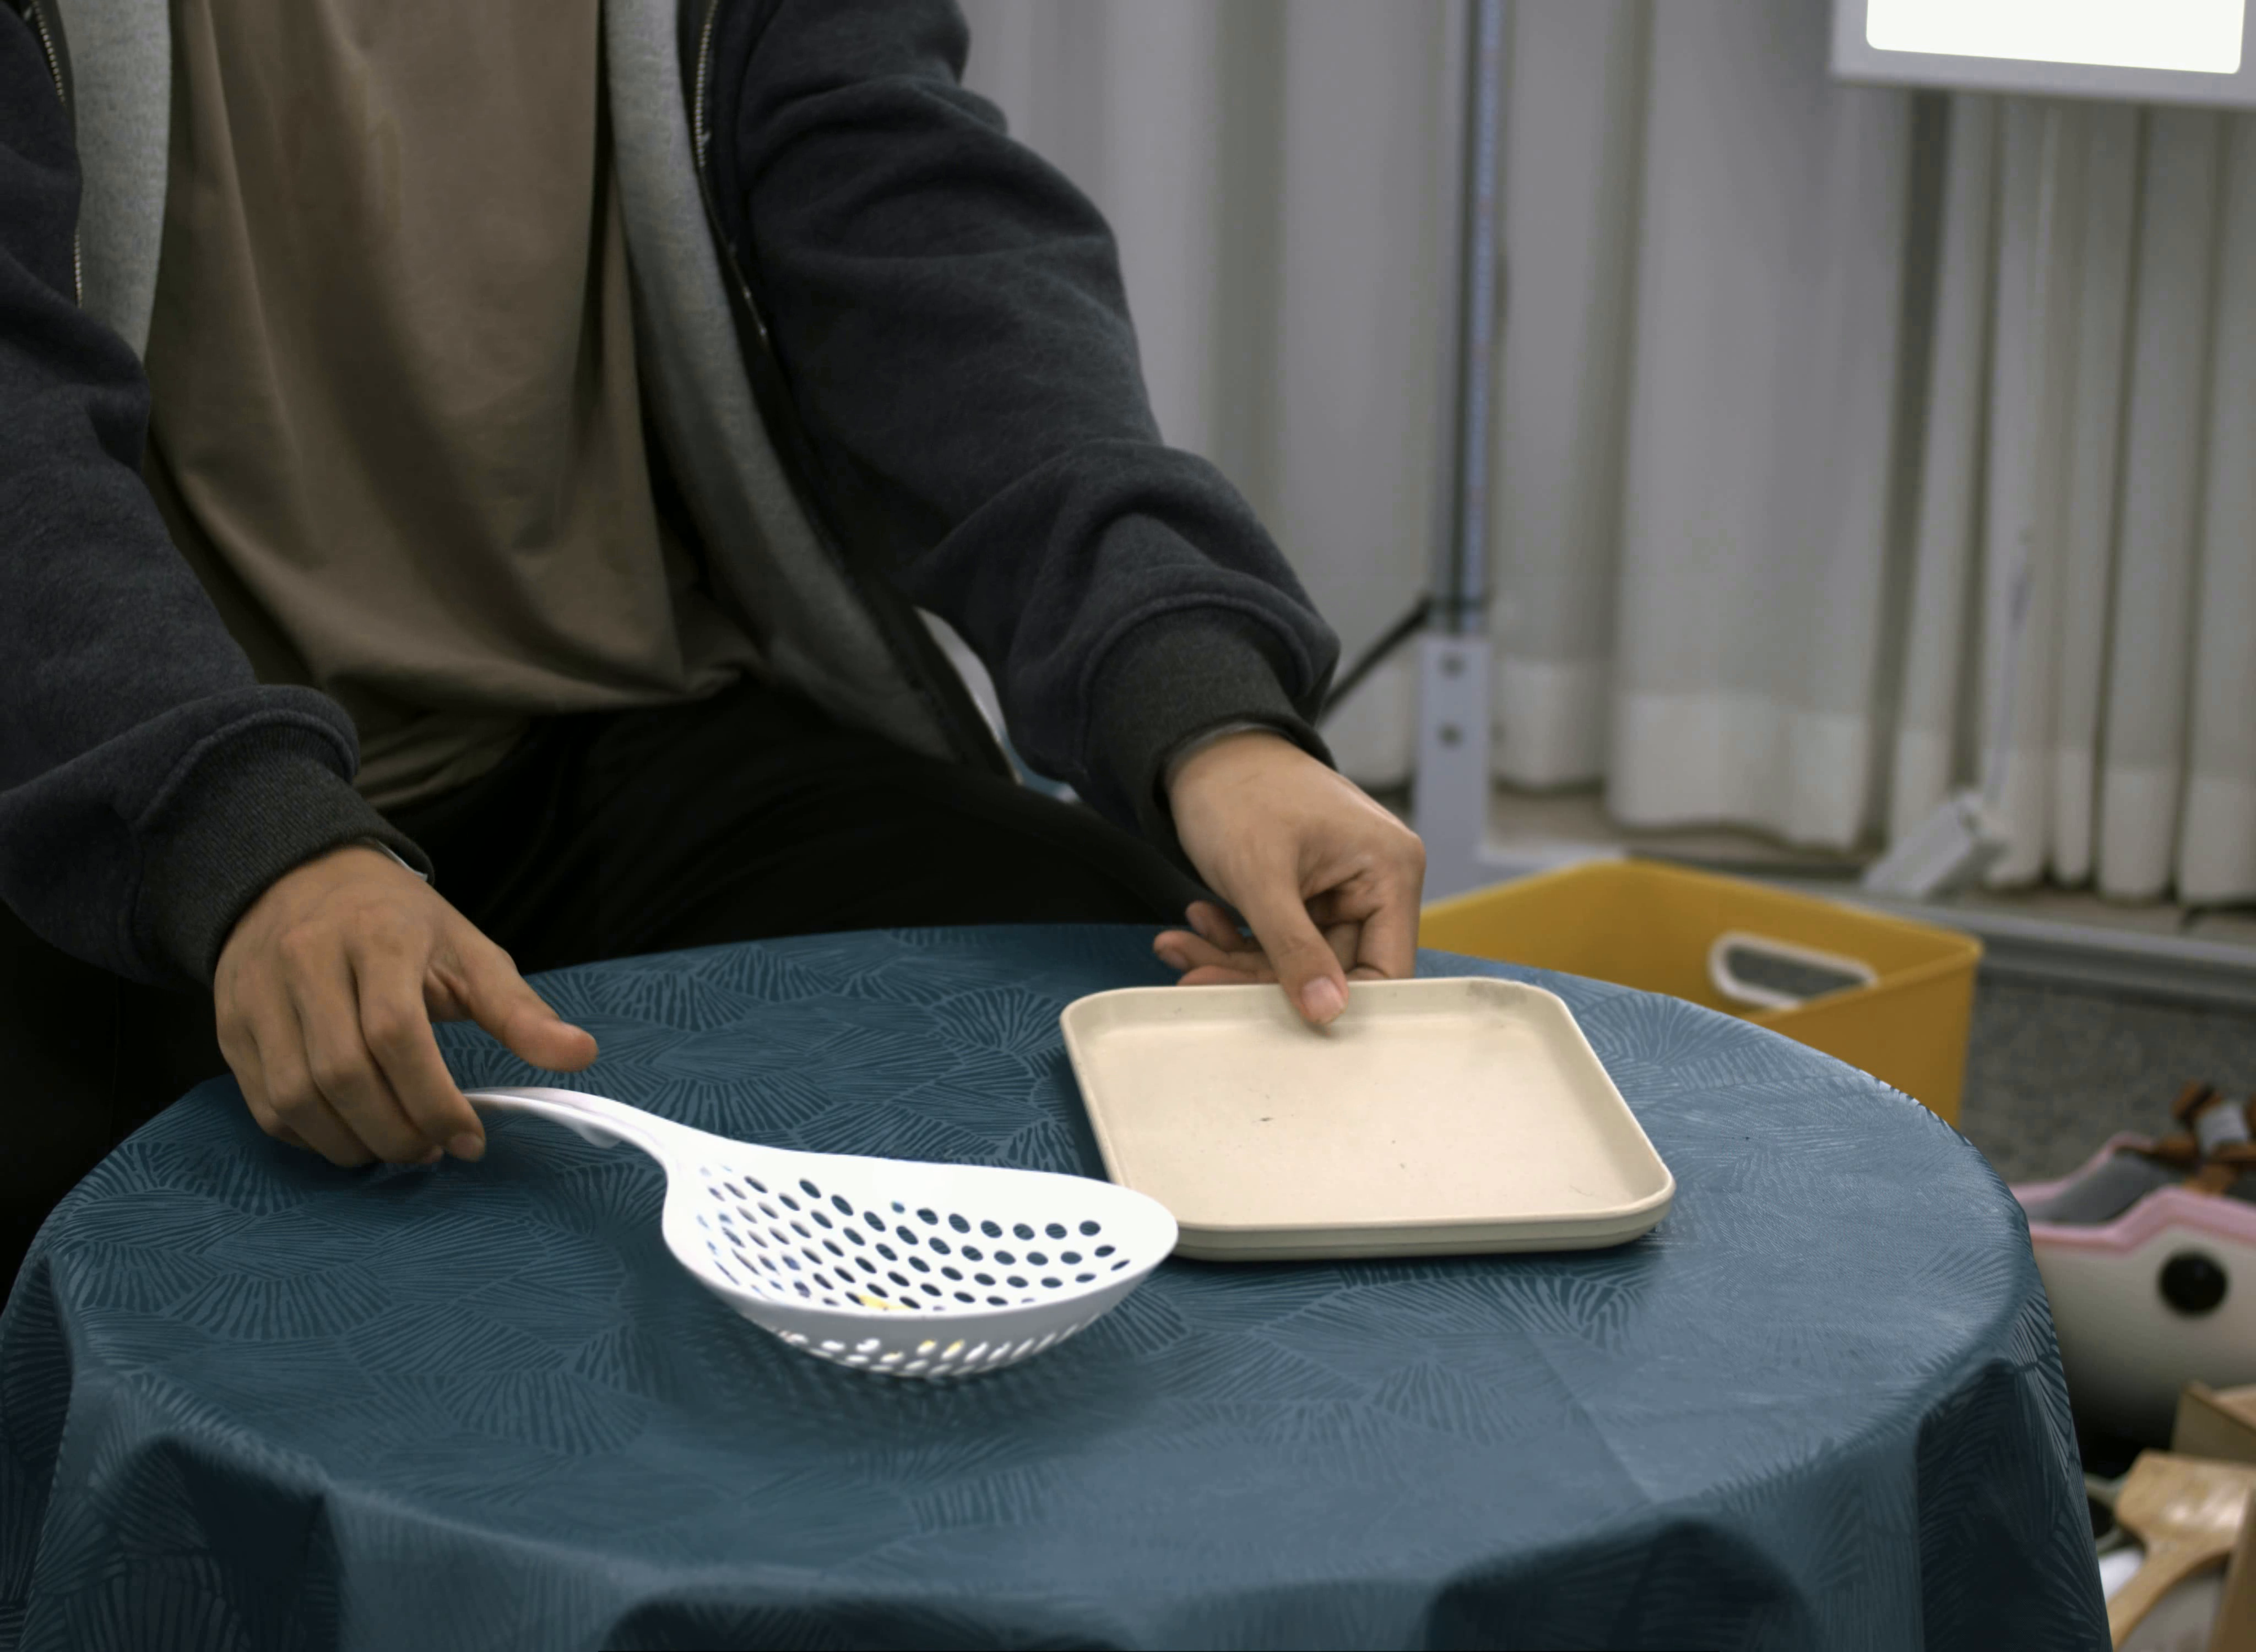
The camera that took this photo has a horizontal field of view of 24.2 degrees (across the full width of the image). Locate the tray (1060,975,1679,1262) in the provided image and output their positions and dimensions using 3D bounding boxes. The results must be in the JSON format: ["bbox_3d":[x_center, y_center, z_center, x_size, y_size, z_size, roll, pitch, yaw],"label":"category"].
[{"bbox_3d":[0.072,0.091,1.667,0.171,0.017,0.238,-2,16,-6],"label":"tray"}]

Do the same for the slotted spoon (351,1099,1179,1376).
[{"bbox_3d":[-0.126,0.108,1.556,0.137,0.051,0.343,-15,22,-39],"label":"slotted spoon"}]
